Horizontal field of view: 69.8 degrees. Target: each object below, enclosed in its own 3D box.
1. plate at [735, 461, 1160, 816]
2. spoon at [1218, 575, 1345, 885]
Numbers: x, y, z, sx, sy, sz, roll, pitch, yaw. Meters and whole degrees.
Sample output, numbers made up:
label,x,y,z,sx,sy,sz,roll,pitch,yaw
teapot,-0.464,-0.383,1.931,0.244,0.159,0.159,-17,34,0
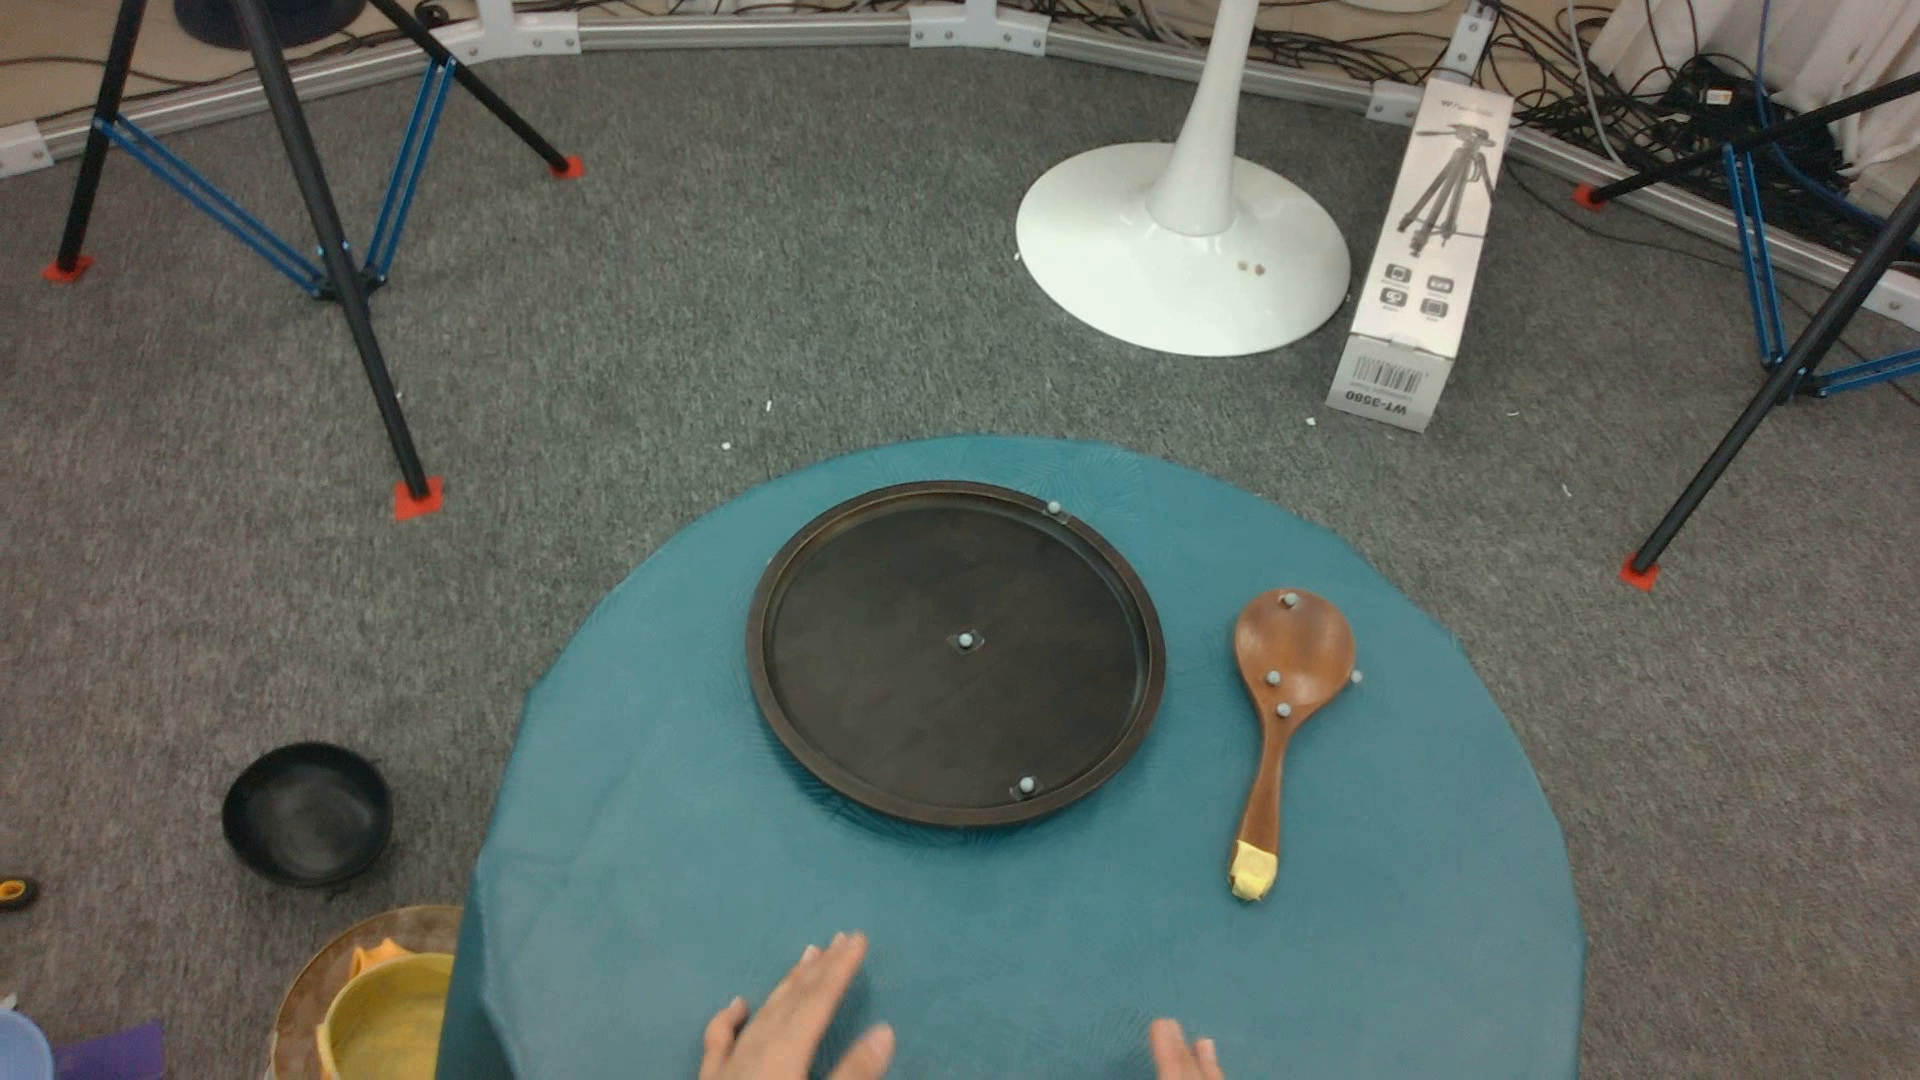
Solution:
label,x,y,z,sx,sy,sz,roll,pitch,yaw
plate,-0.007,0.053,0.826,0.255,0.029,0.256,3,50,-4
spoon,0.181,0.106,0.809,0.075,0.017,0.217,17,51,6
